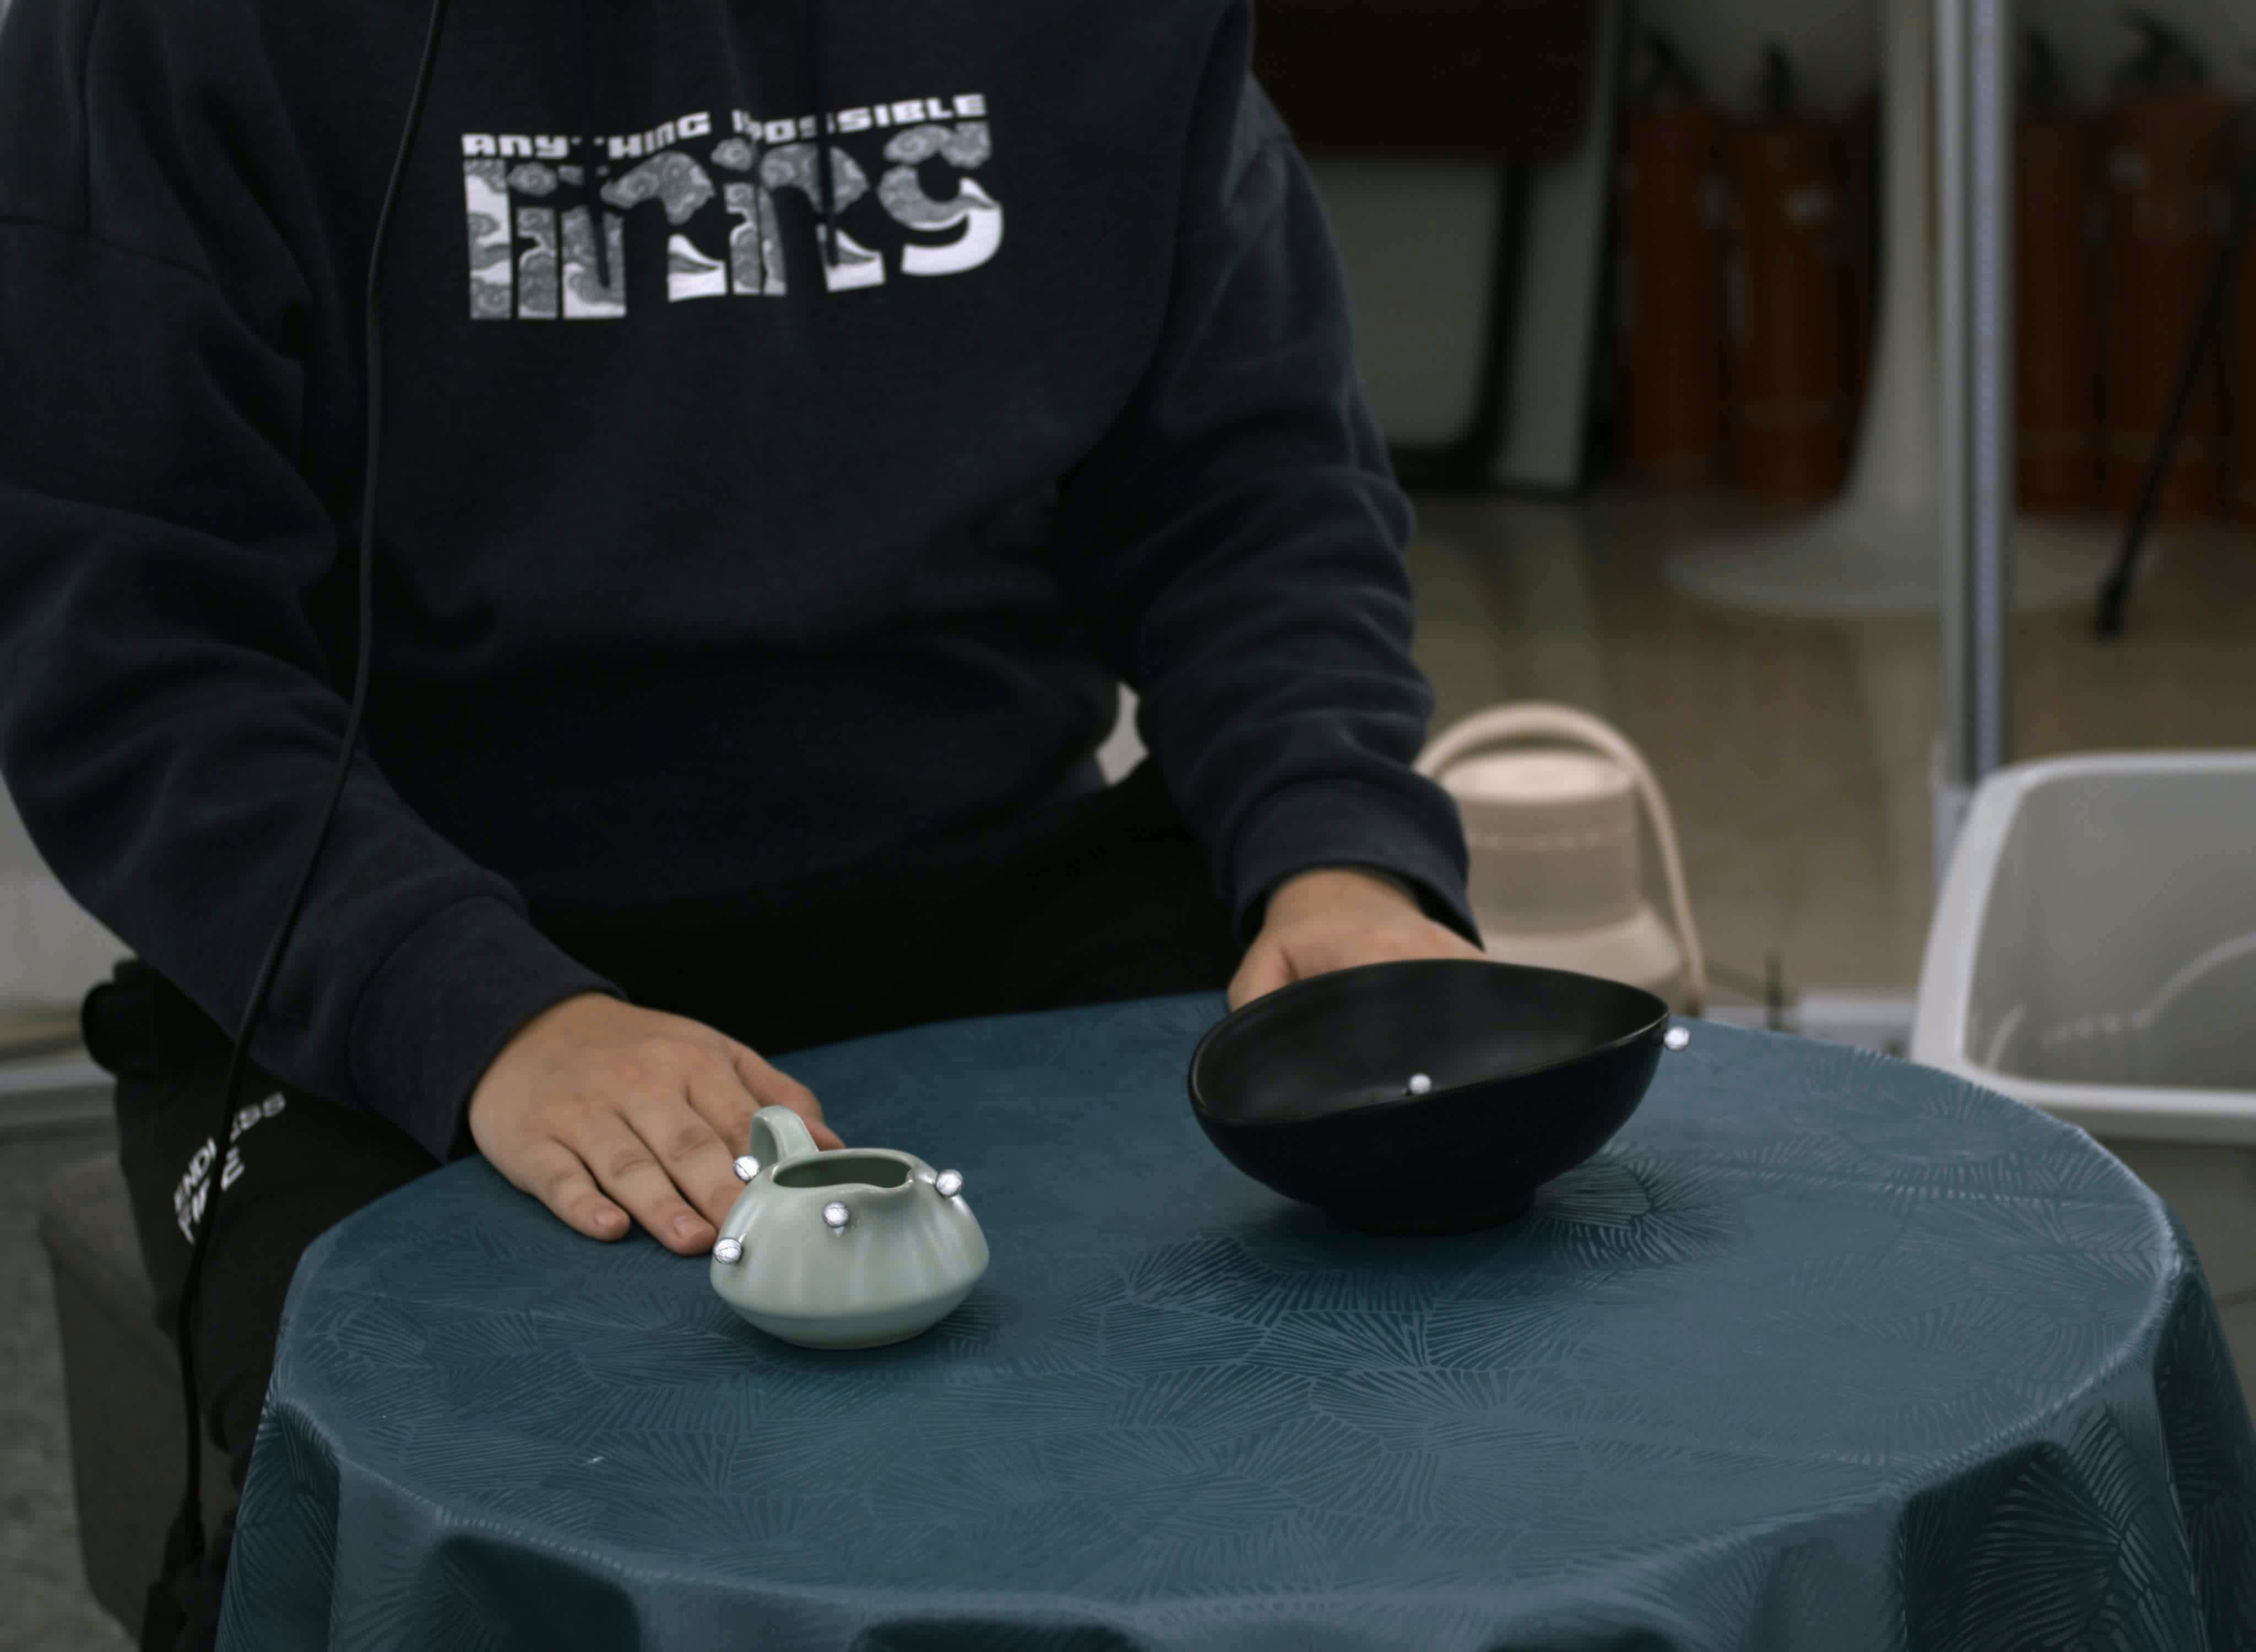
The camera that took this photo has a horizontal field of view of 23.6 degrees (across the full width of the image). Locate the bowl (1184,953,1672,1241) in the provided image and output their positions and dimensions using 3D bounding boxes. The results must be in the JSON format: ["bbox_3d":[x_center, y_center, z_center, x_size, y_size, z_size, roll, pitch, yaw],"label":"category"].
[{"bbox_3d":[0.099,0.092,1.733,0.166,0.067,0.139,-14,16,-33],"label":"bowl"}]

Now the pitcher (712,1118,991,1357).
[{"bbox_3d":[-0.090,0.127,1.663,0.084,0.061,0.109,-9,12,-27],"label":"pitcher"}]
